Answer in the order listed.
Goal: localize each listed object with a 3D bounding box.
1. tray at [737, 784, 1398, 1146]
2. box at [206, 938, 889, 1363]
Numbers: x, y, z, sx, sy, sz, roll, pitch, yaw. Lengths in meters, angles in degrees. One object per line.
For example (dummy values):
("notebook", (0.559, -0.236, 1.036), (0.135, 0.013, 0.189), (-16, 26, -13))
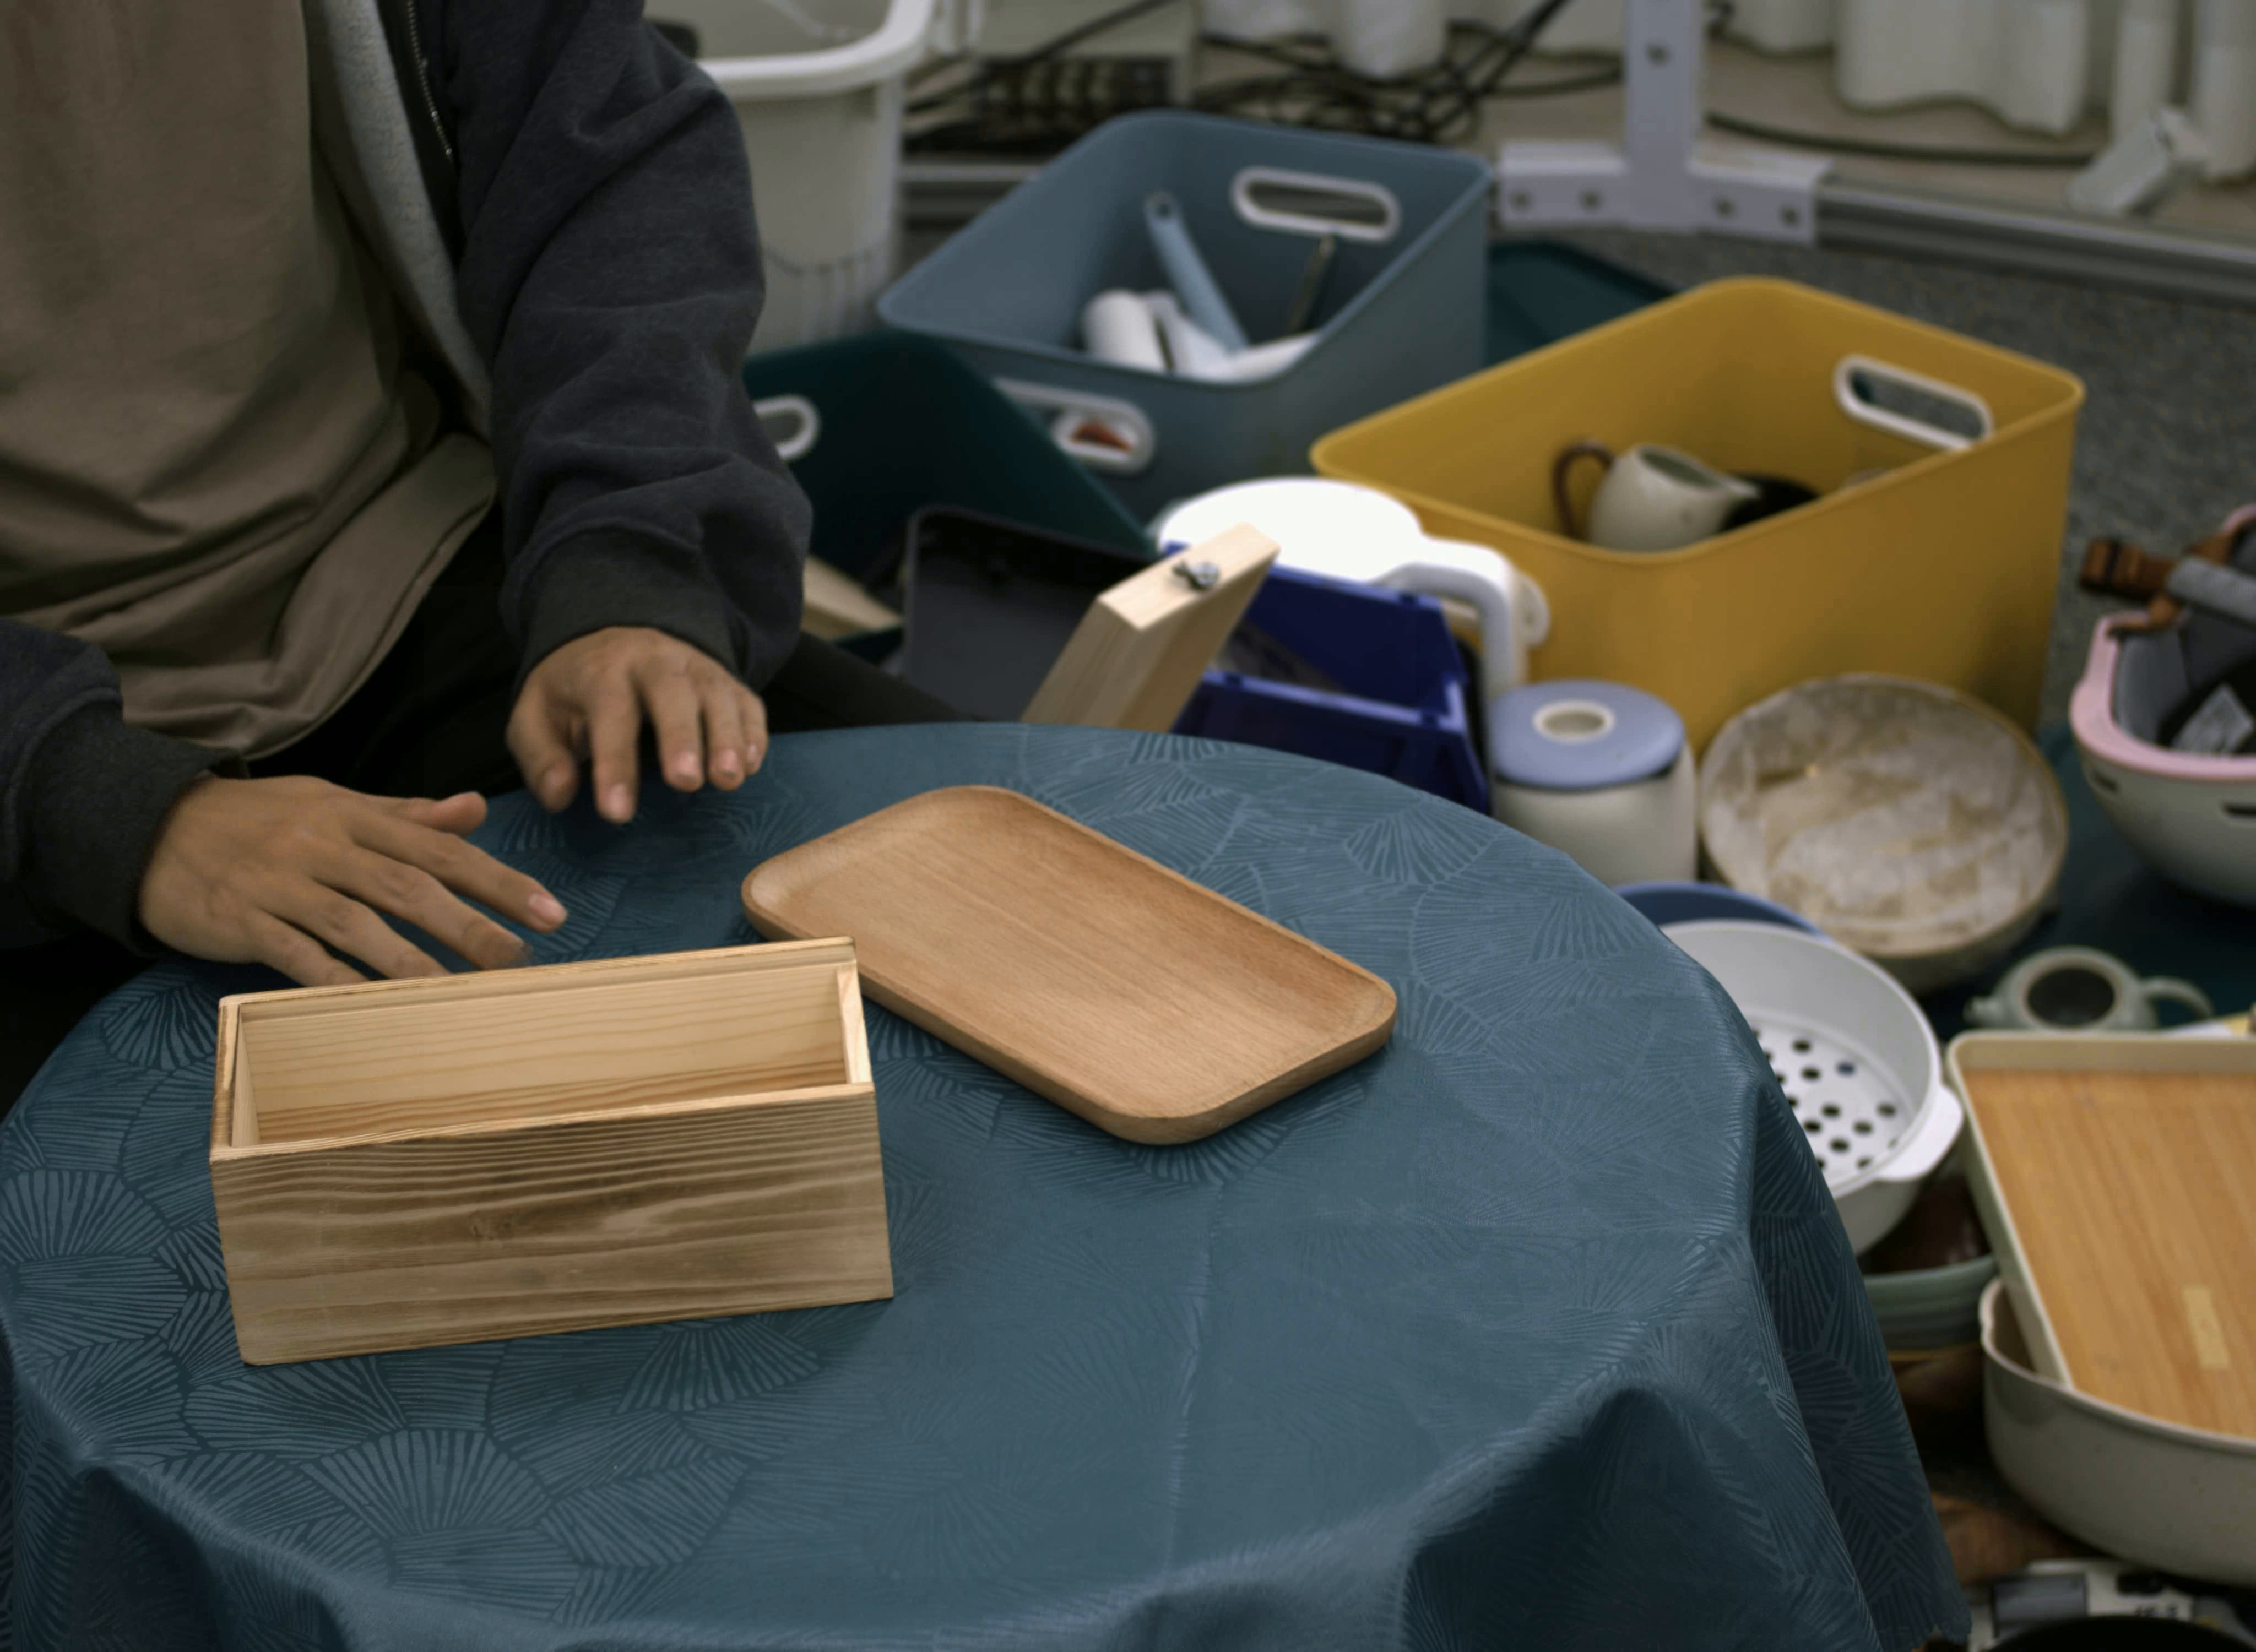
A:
("tray", (-0.024, 0.047, 1.990), (0.132, 0.022, 0.250), (-20, 31, -35))
("box", (-0.188, 0.105, 1.829), (0.211, 0.079, 0.109), (-5, 27, -5))
